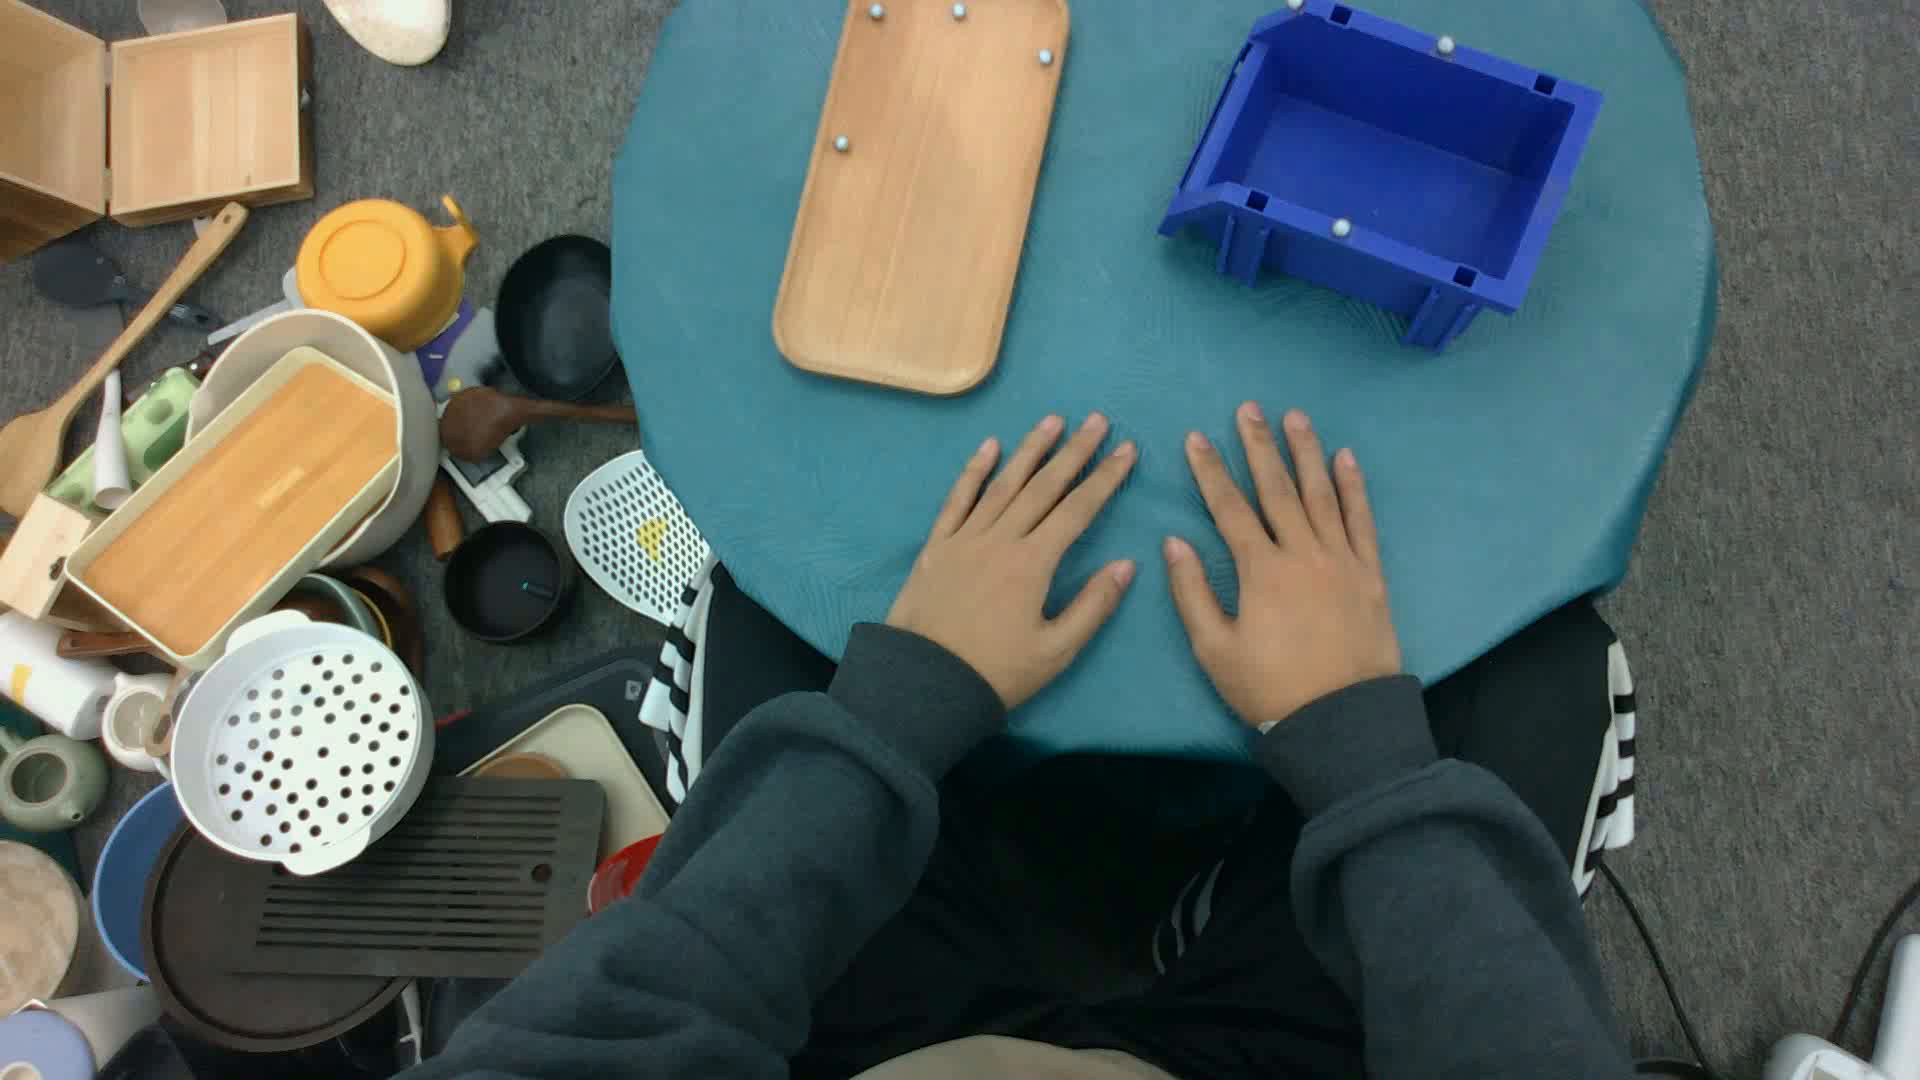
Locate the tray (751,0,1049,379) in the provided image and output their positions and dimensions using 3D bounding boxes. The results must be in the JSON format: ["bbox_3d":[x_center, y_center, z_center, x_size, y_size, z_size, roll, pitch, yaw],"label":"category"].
[{"bbox_3d":[-0.031,-0.213,0.767,0.130,0.023,0.251,10,80,9],"label":"tray"}]

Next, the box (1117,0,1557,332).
[{"bbox_3d":[0.188,-0.201,0.715,0.179,0.082,0.124,26,82,6],"label":"box"}]
